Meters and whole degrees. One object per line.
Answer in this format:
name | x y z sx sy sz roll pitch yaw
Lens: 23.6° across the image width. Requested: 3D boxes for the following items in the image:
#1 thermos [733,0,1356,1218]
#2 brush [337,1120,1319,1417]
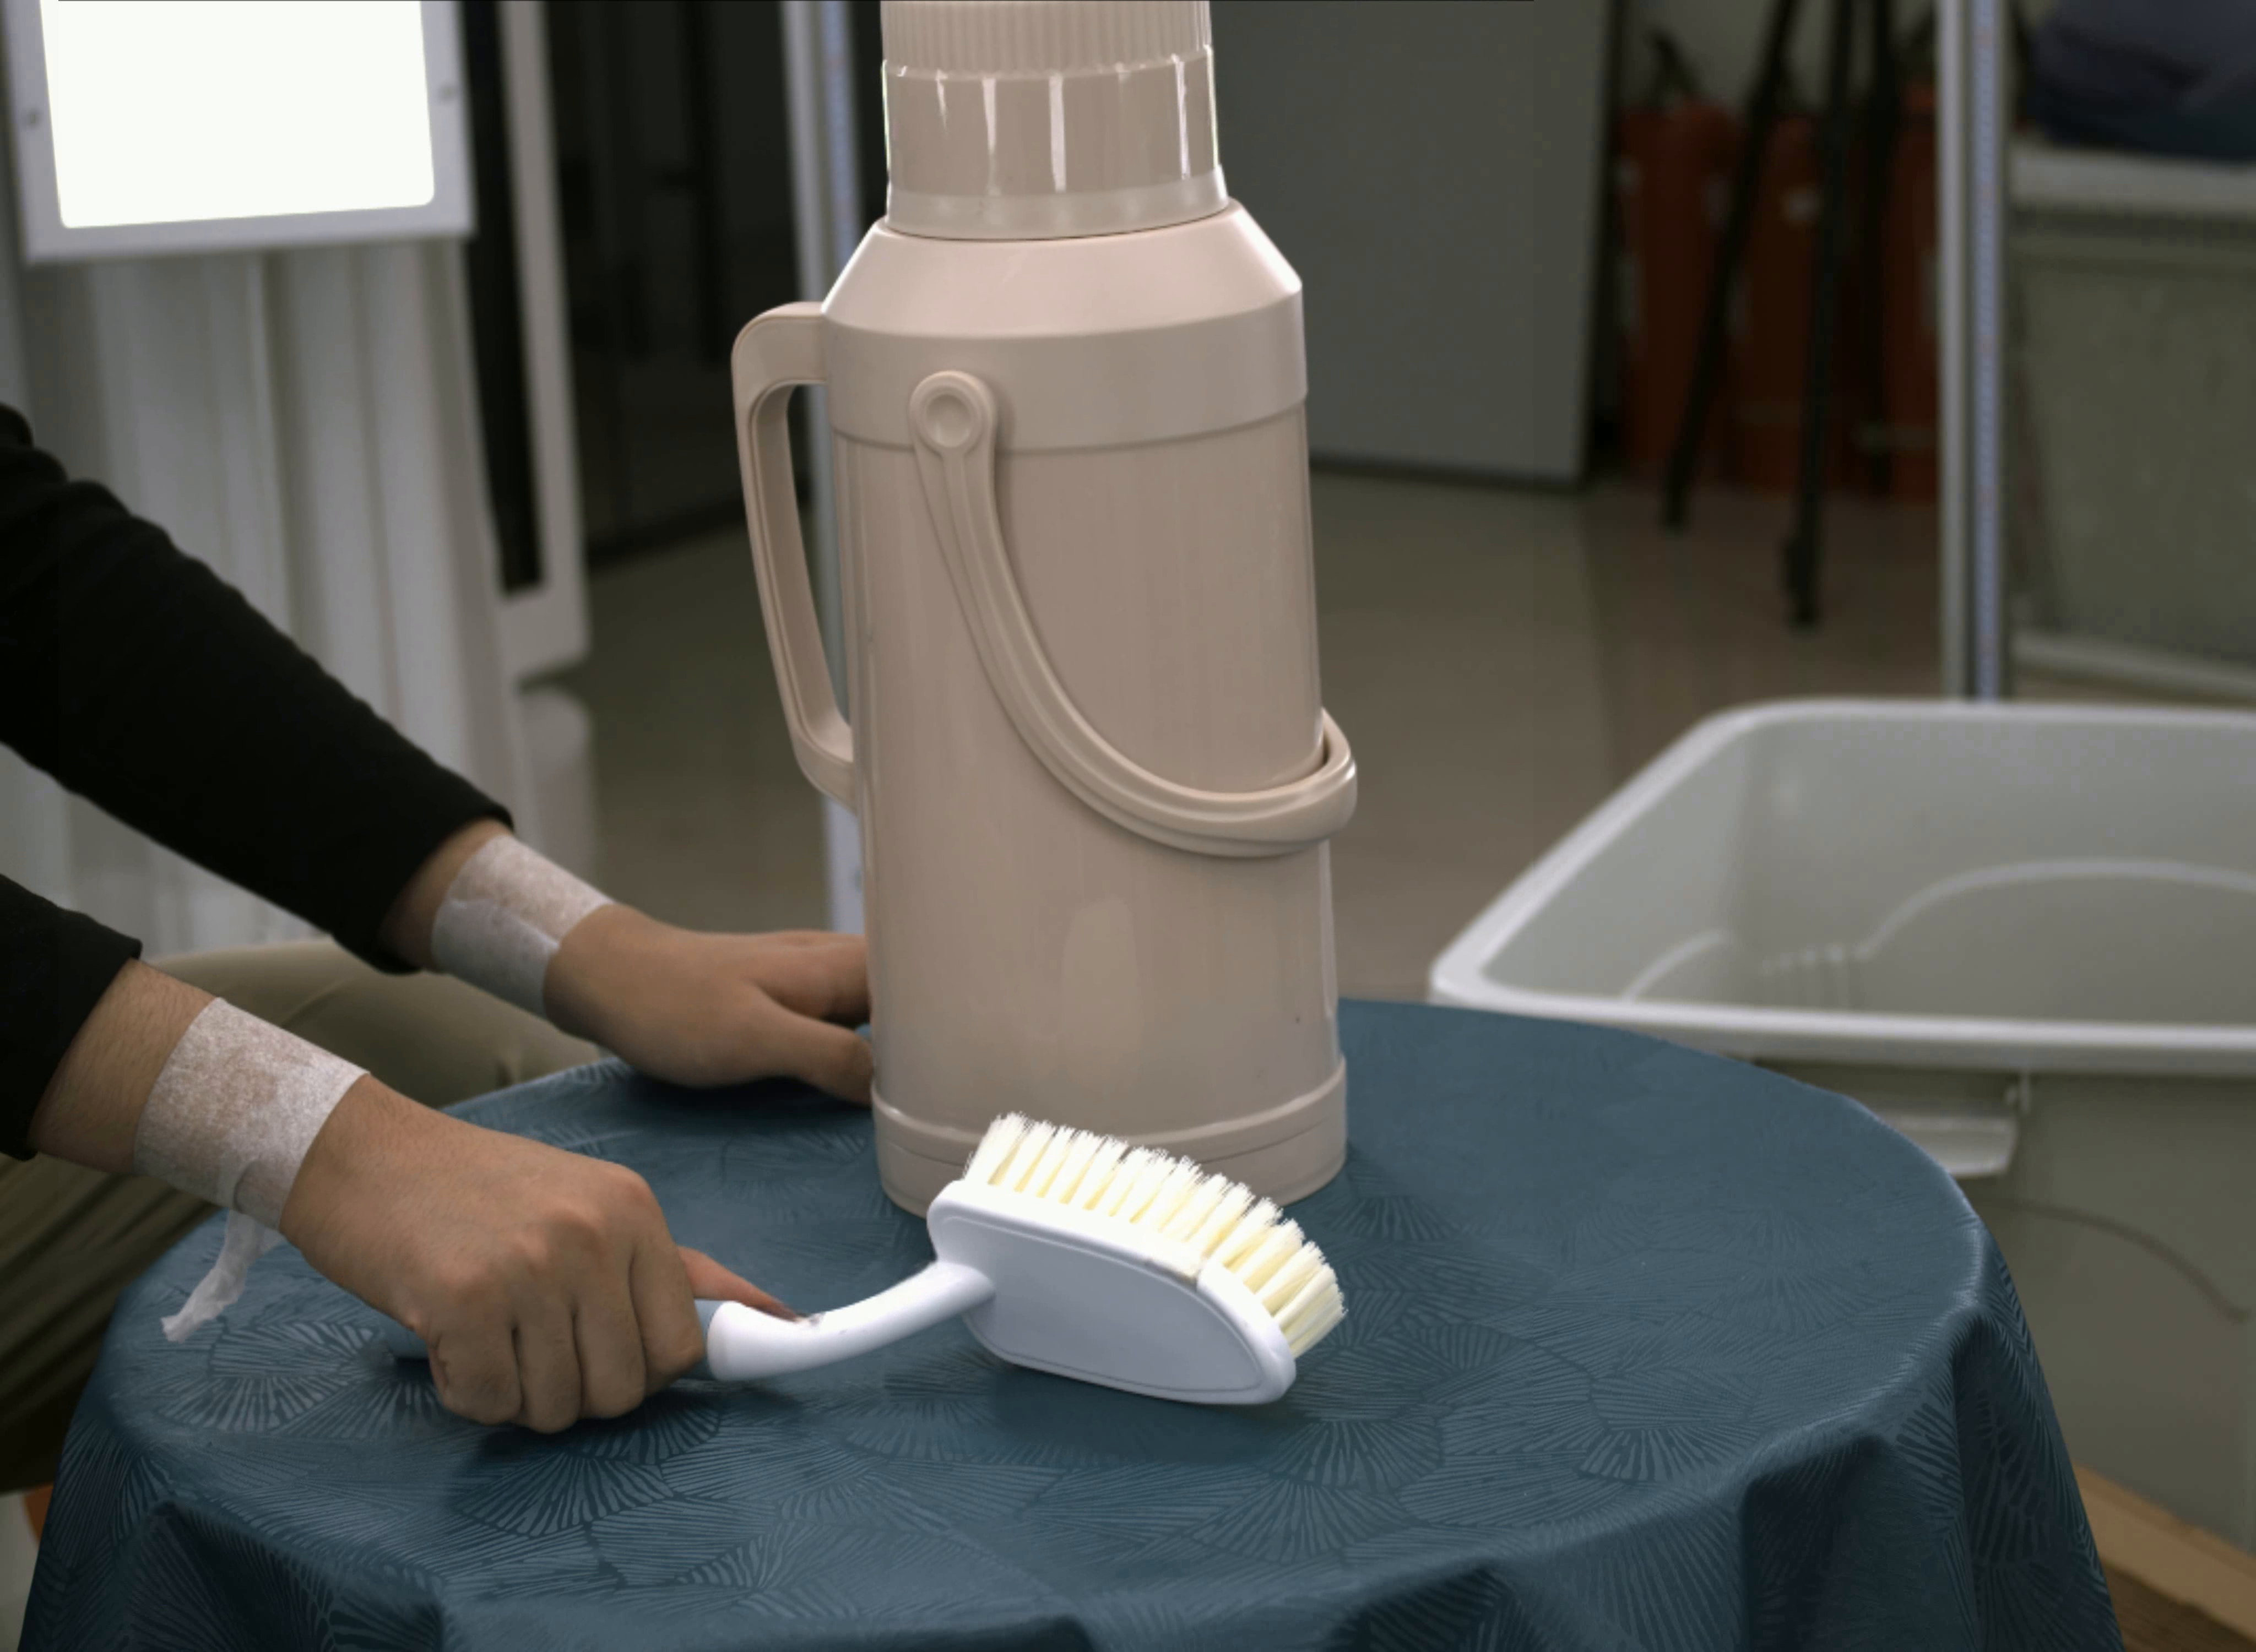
thermos | -0.028 -0.081 1.763 0.207 0.410 0.173 3 16 25
brush | -0.090 0.128 1.618 0.326 0.084 0.083 1 0 28
